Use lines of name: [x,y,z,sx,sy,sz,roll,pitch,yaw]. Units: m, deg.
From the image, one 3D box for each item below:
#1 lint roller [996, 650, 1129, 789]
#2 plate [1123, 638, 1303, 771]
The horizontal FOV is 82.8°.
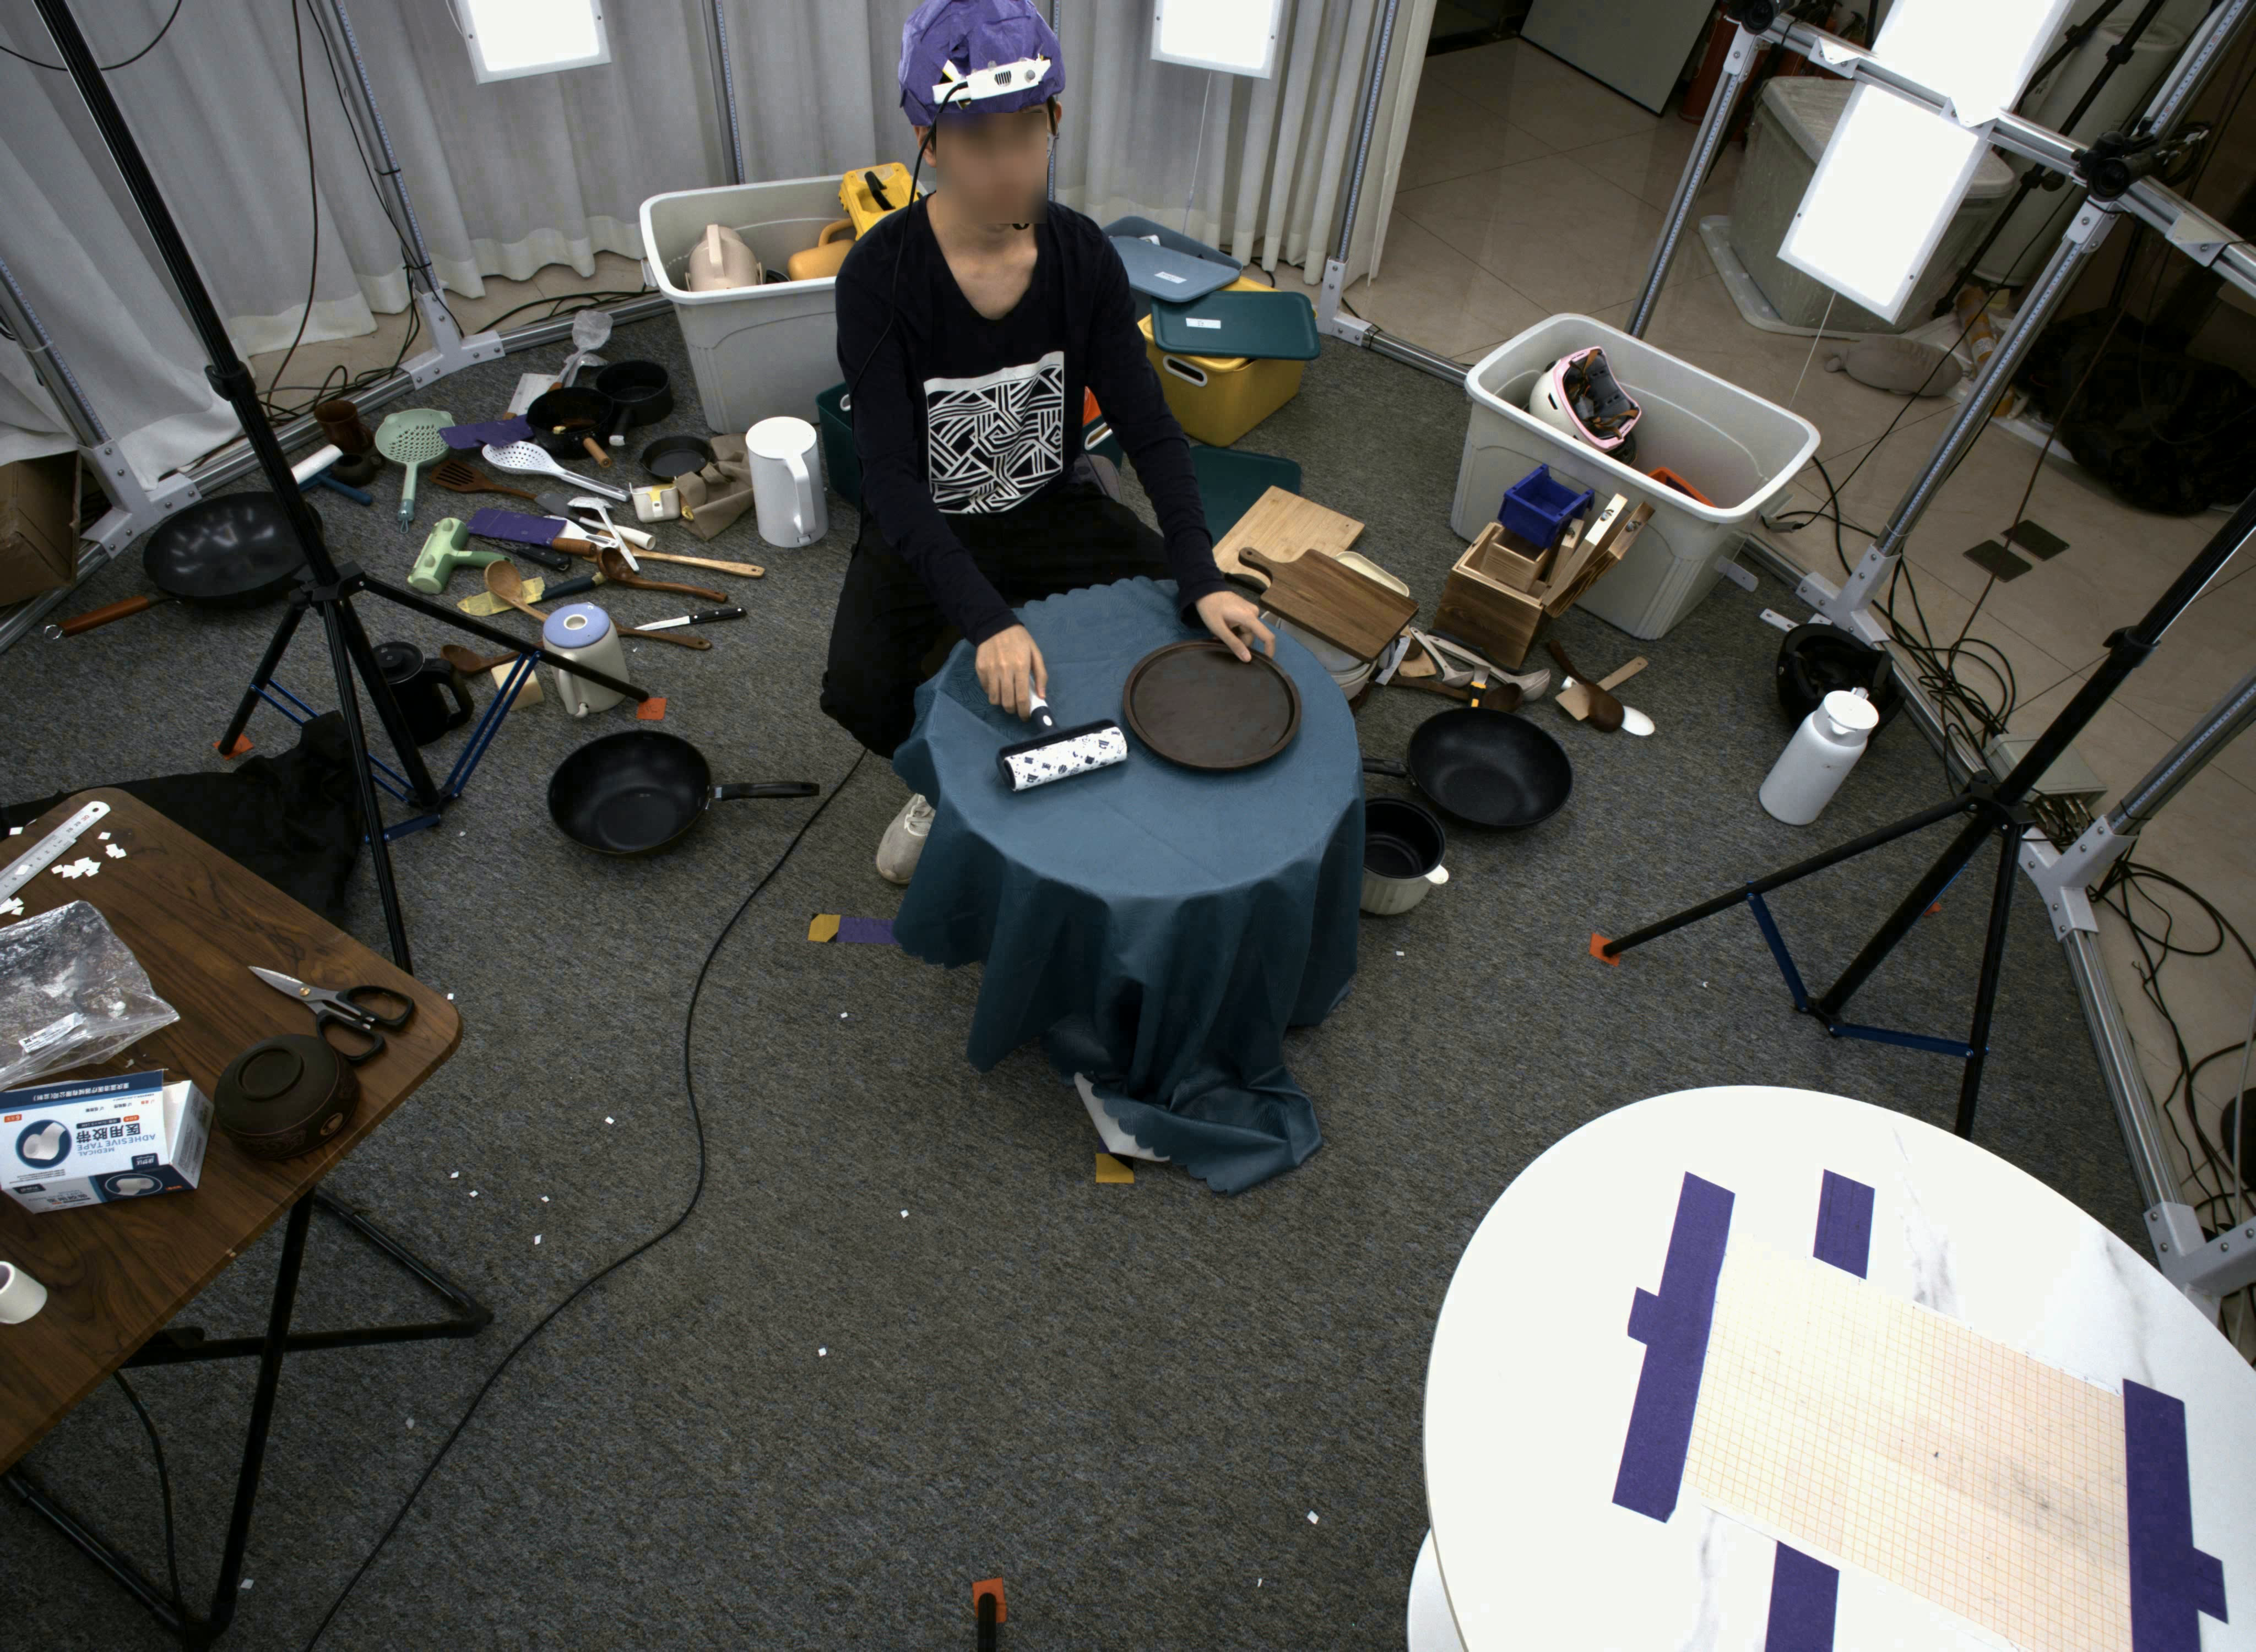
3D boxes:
lint roller: [-0.125,-0.164,1.768,0.176,0.049,0.253,-17,53,-17]
plate: [0.120,-0.172,1.806,0.254,0.028,0.261,1,49,-1]
